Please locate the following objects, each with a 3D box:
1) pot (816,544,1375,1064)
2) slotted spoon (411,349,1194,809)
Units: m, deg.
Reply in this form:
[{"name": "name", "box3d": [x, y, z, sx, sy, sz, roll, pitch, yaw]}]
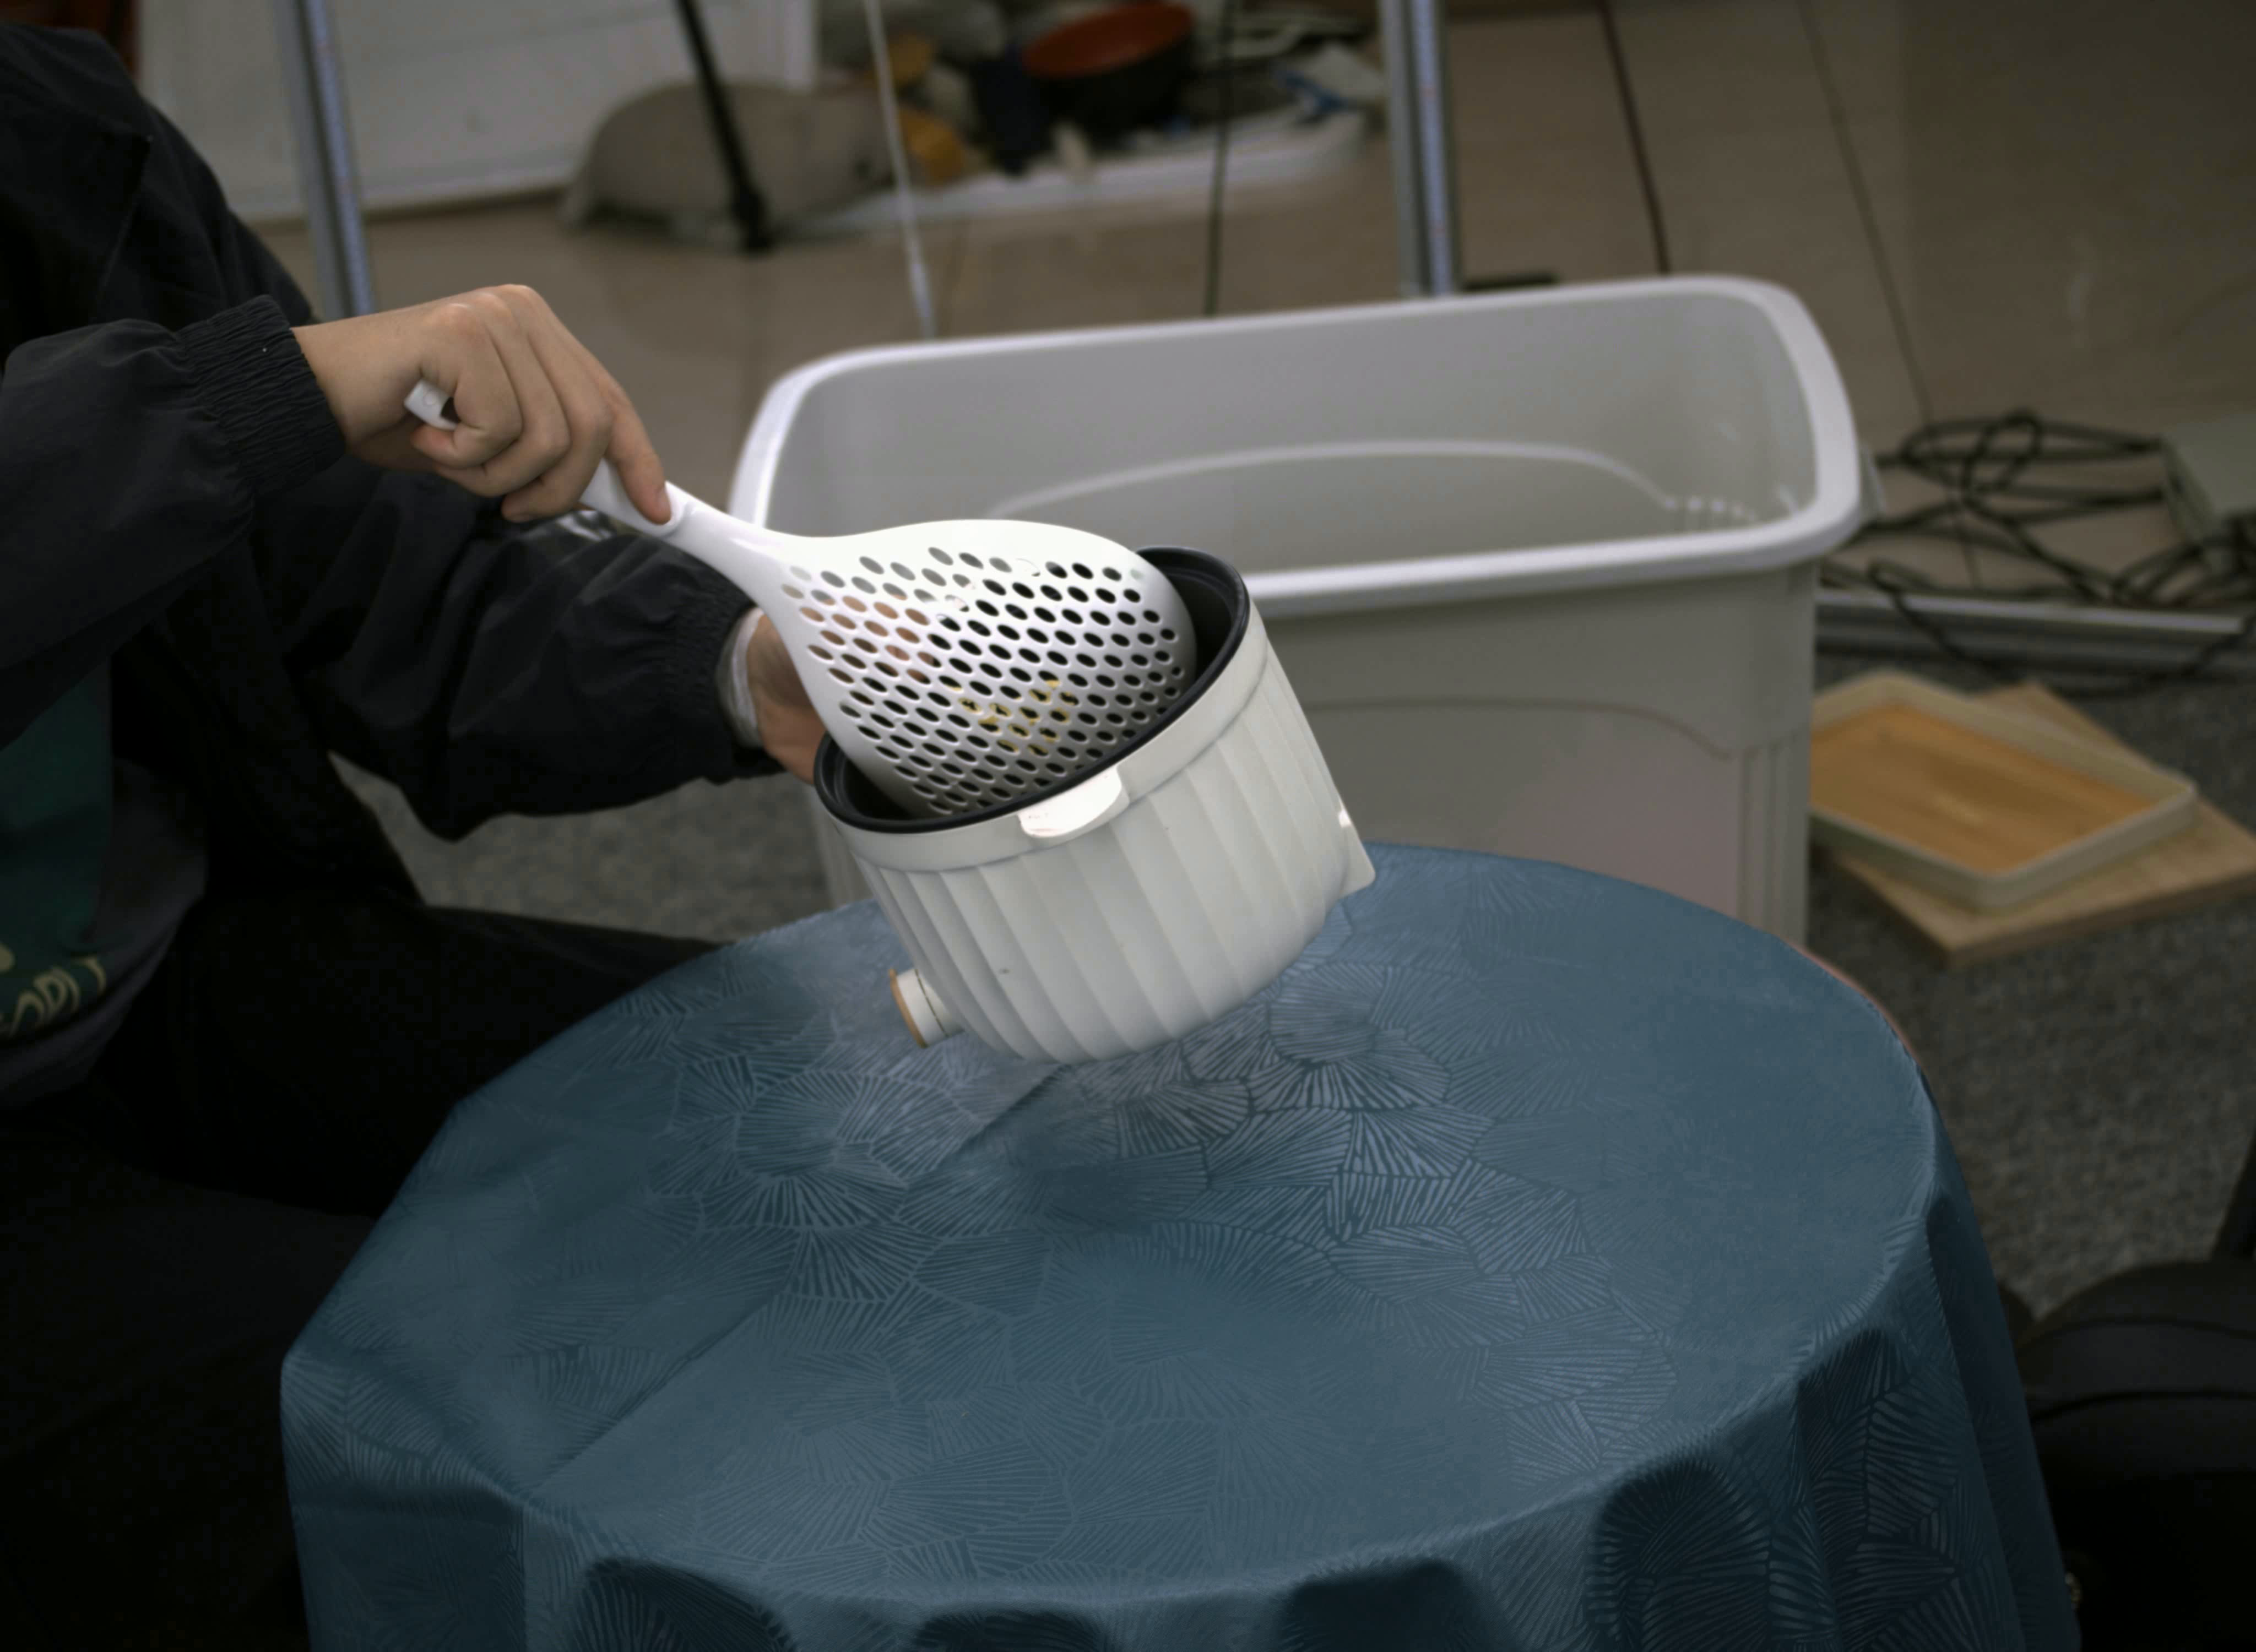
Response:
[{"name": "pot", "box3d": [-0.015, 0.001, 2.169, 0.190, 0.145, 0.237, -23, 27, 2]}, {"name": "slotted spoon", "box3d": [-0.124, -0.095, 2.123, 0.350, 0.138, 0.049, 28, 14, -24]}]
